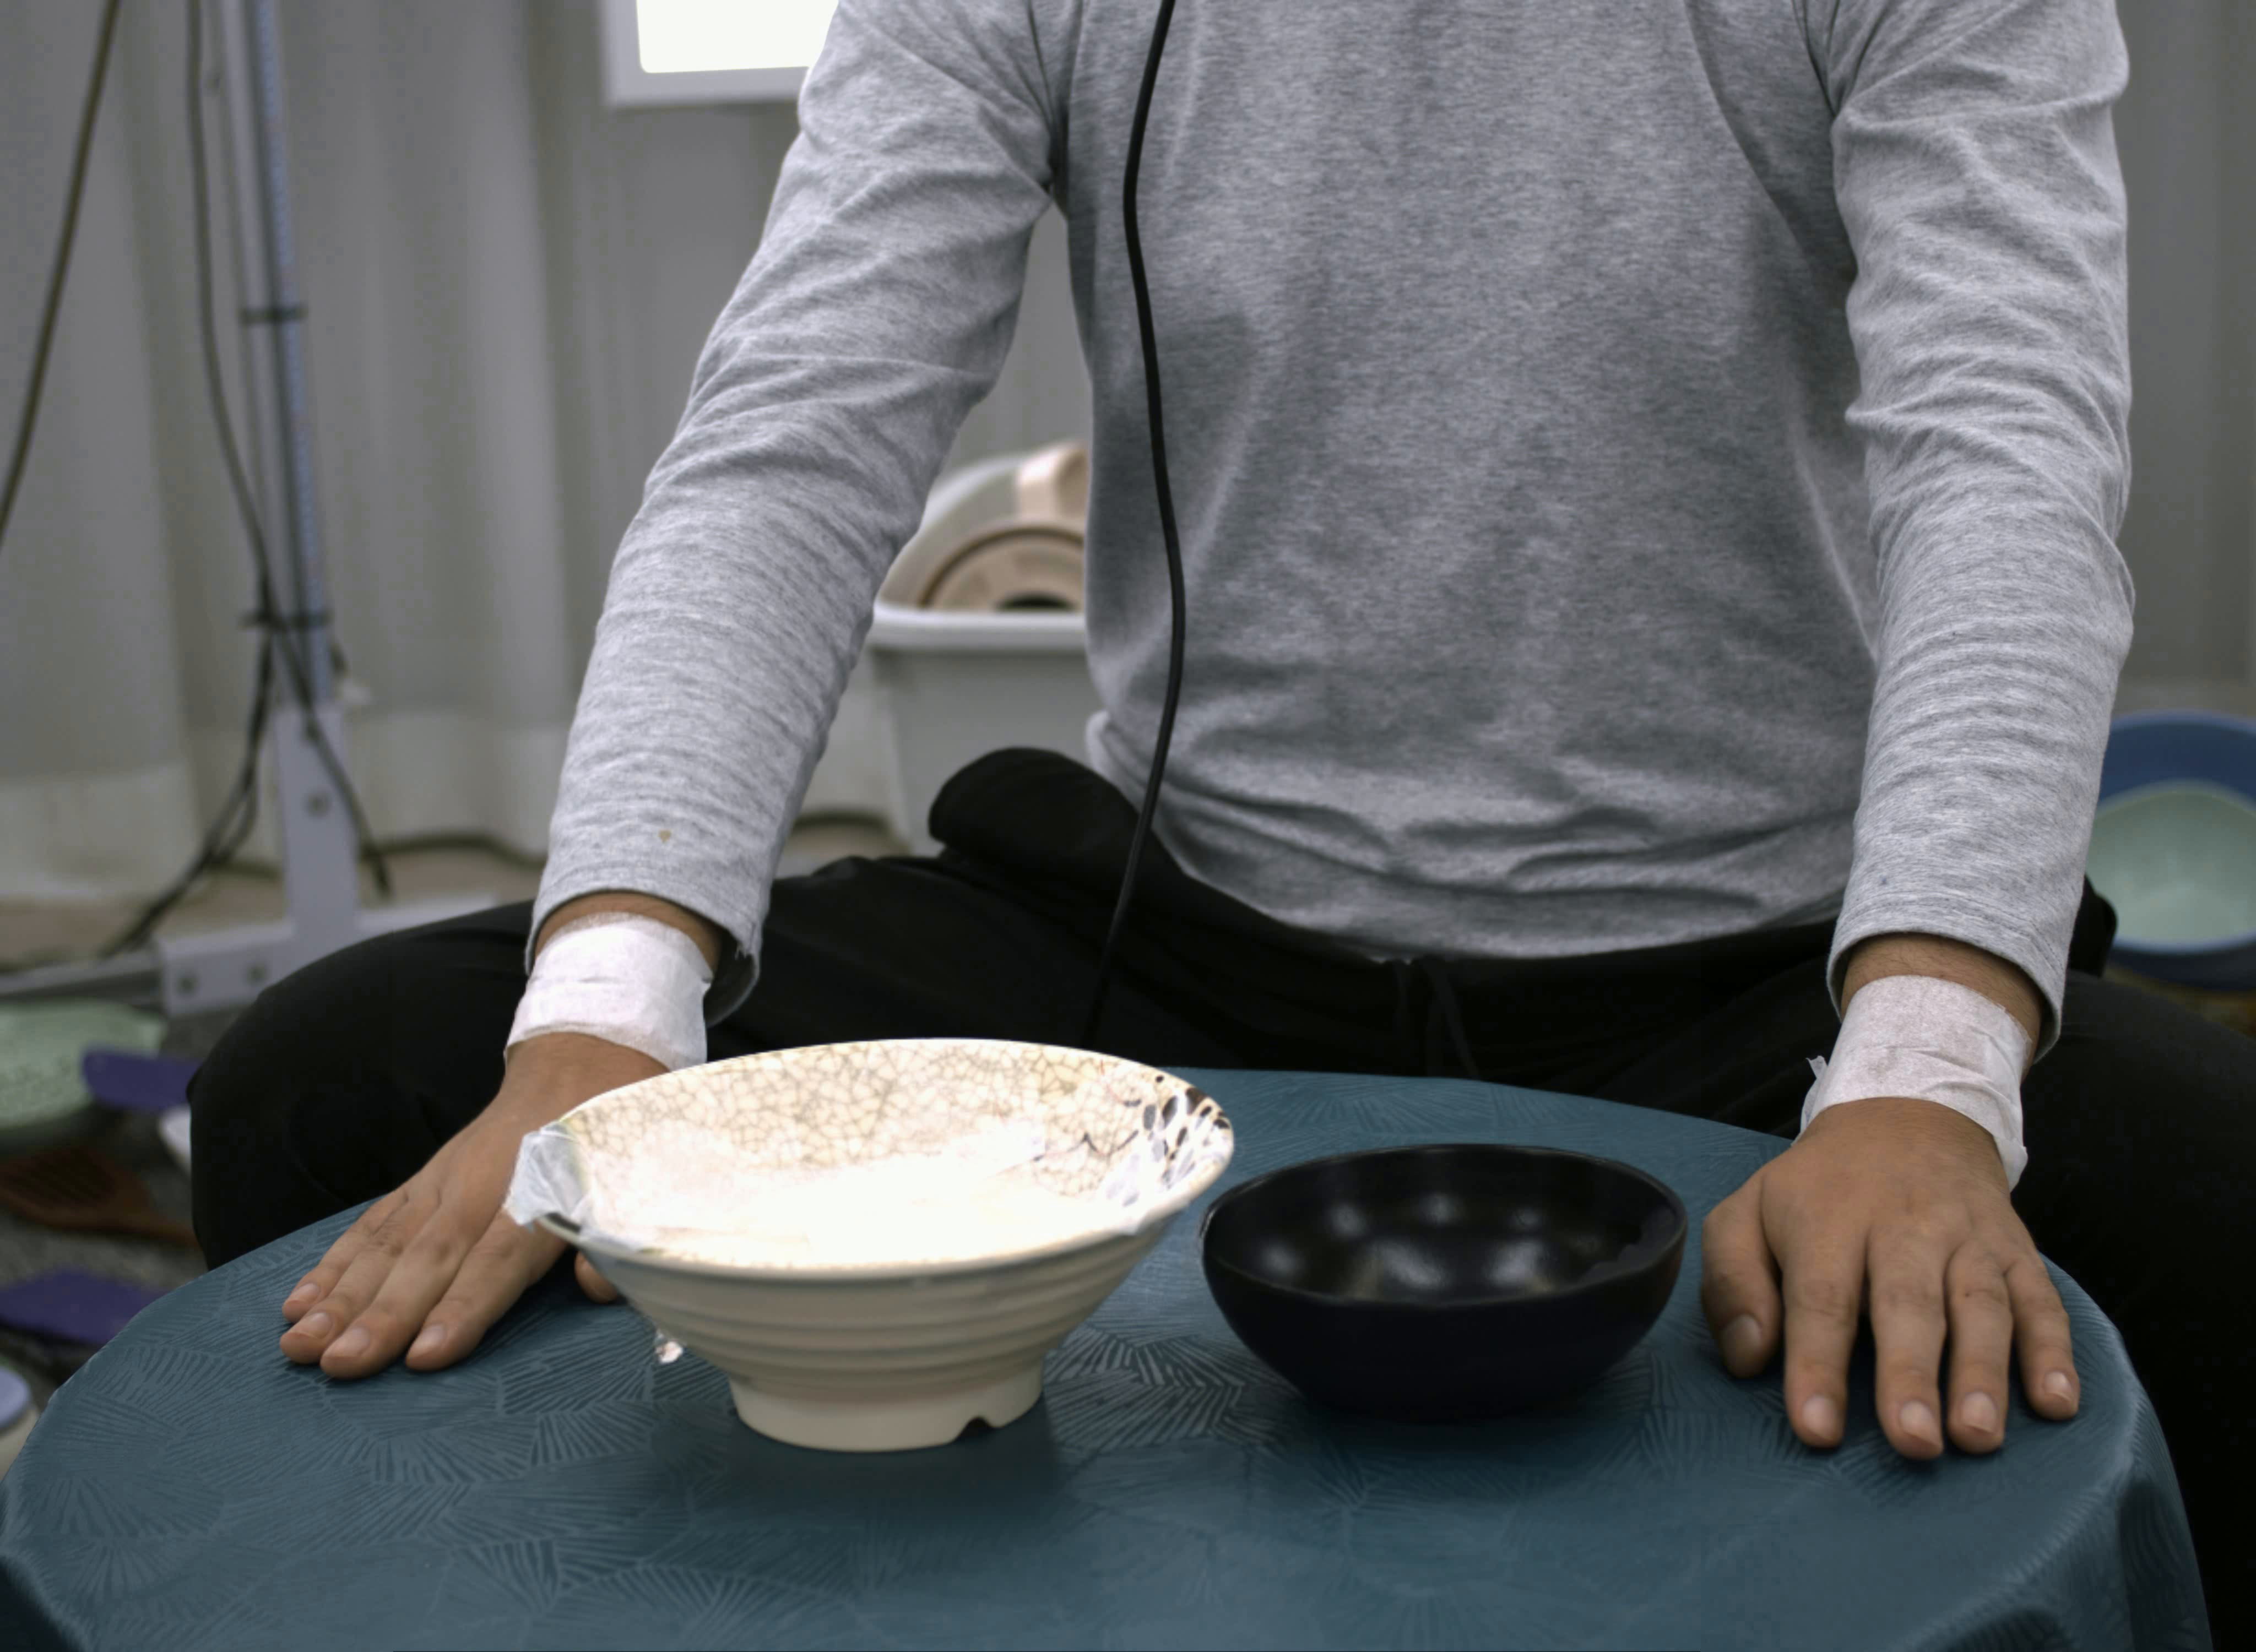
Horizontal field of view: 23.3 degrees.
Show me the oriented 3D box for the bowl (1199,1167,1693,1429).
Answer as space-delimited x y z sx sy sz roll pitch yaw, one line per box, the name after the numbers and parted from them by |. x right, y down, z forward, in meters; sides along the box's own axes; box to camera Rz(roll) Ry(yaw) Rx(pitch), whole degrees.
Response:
0.089 0.136 1.536 0.139 0.049 0.140 0 10 0 | bowl

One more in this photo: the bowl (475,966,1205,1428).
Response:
-0.079 0.115 1.537 0.203 0.077 0.206 -2 22 0 | bowl
